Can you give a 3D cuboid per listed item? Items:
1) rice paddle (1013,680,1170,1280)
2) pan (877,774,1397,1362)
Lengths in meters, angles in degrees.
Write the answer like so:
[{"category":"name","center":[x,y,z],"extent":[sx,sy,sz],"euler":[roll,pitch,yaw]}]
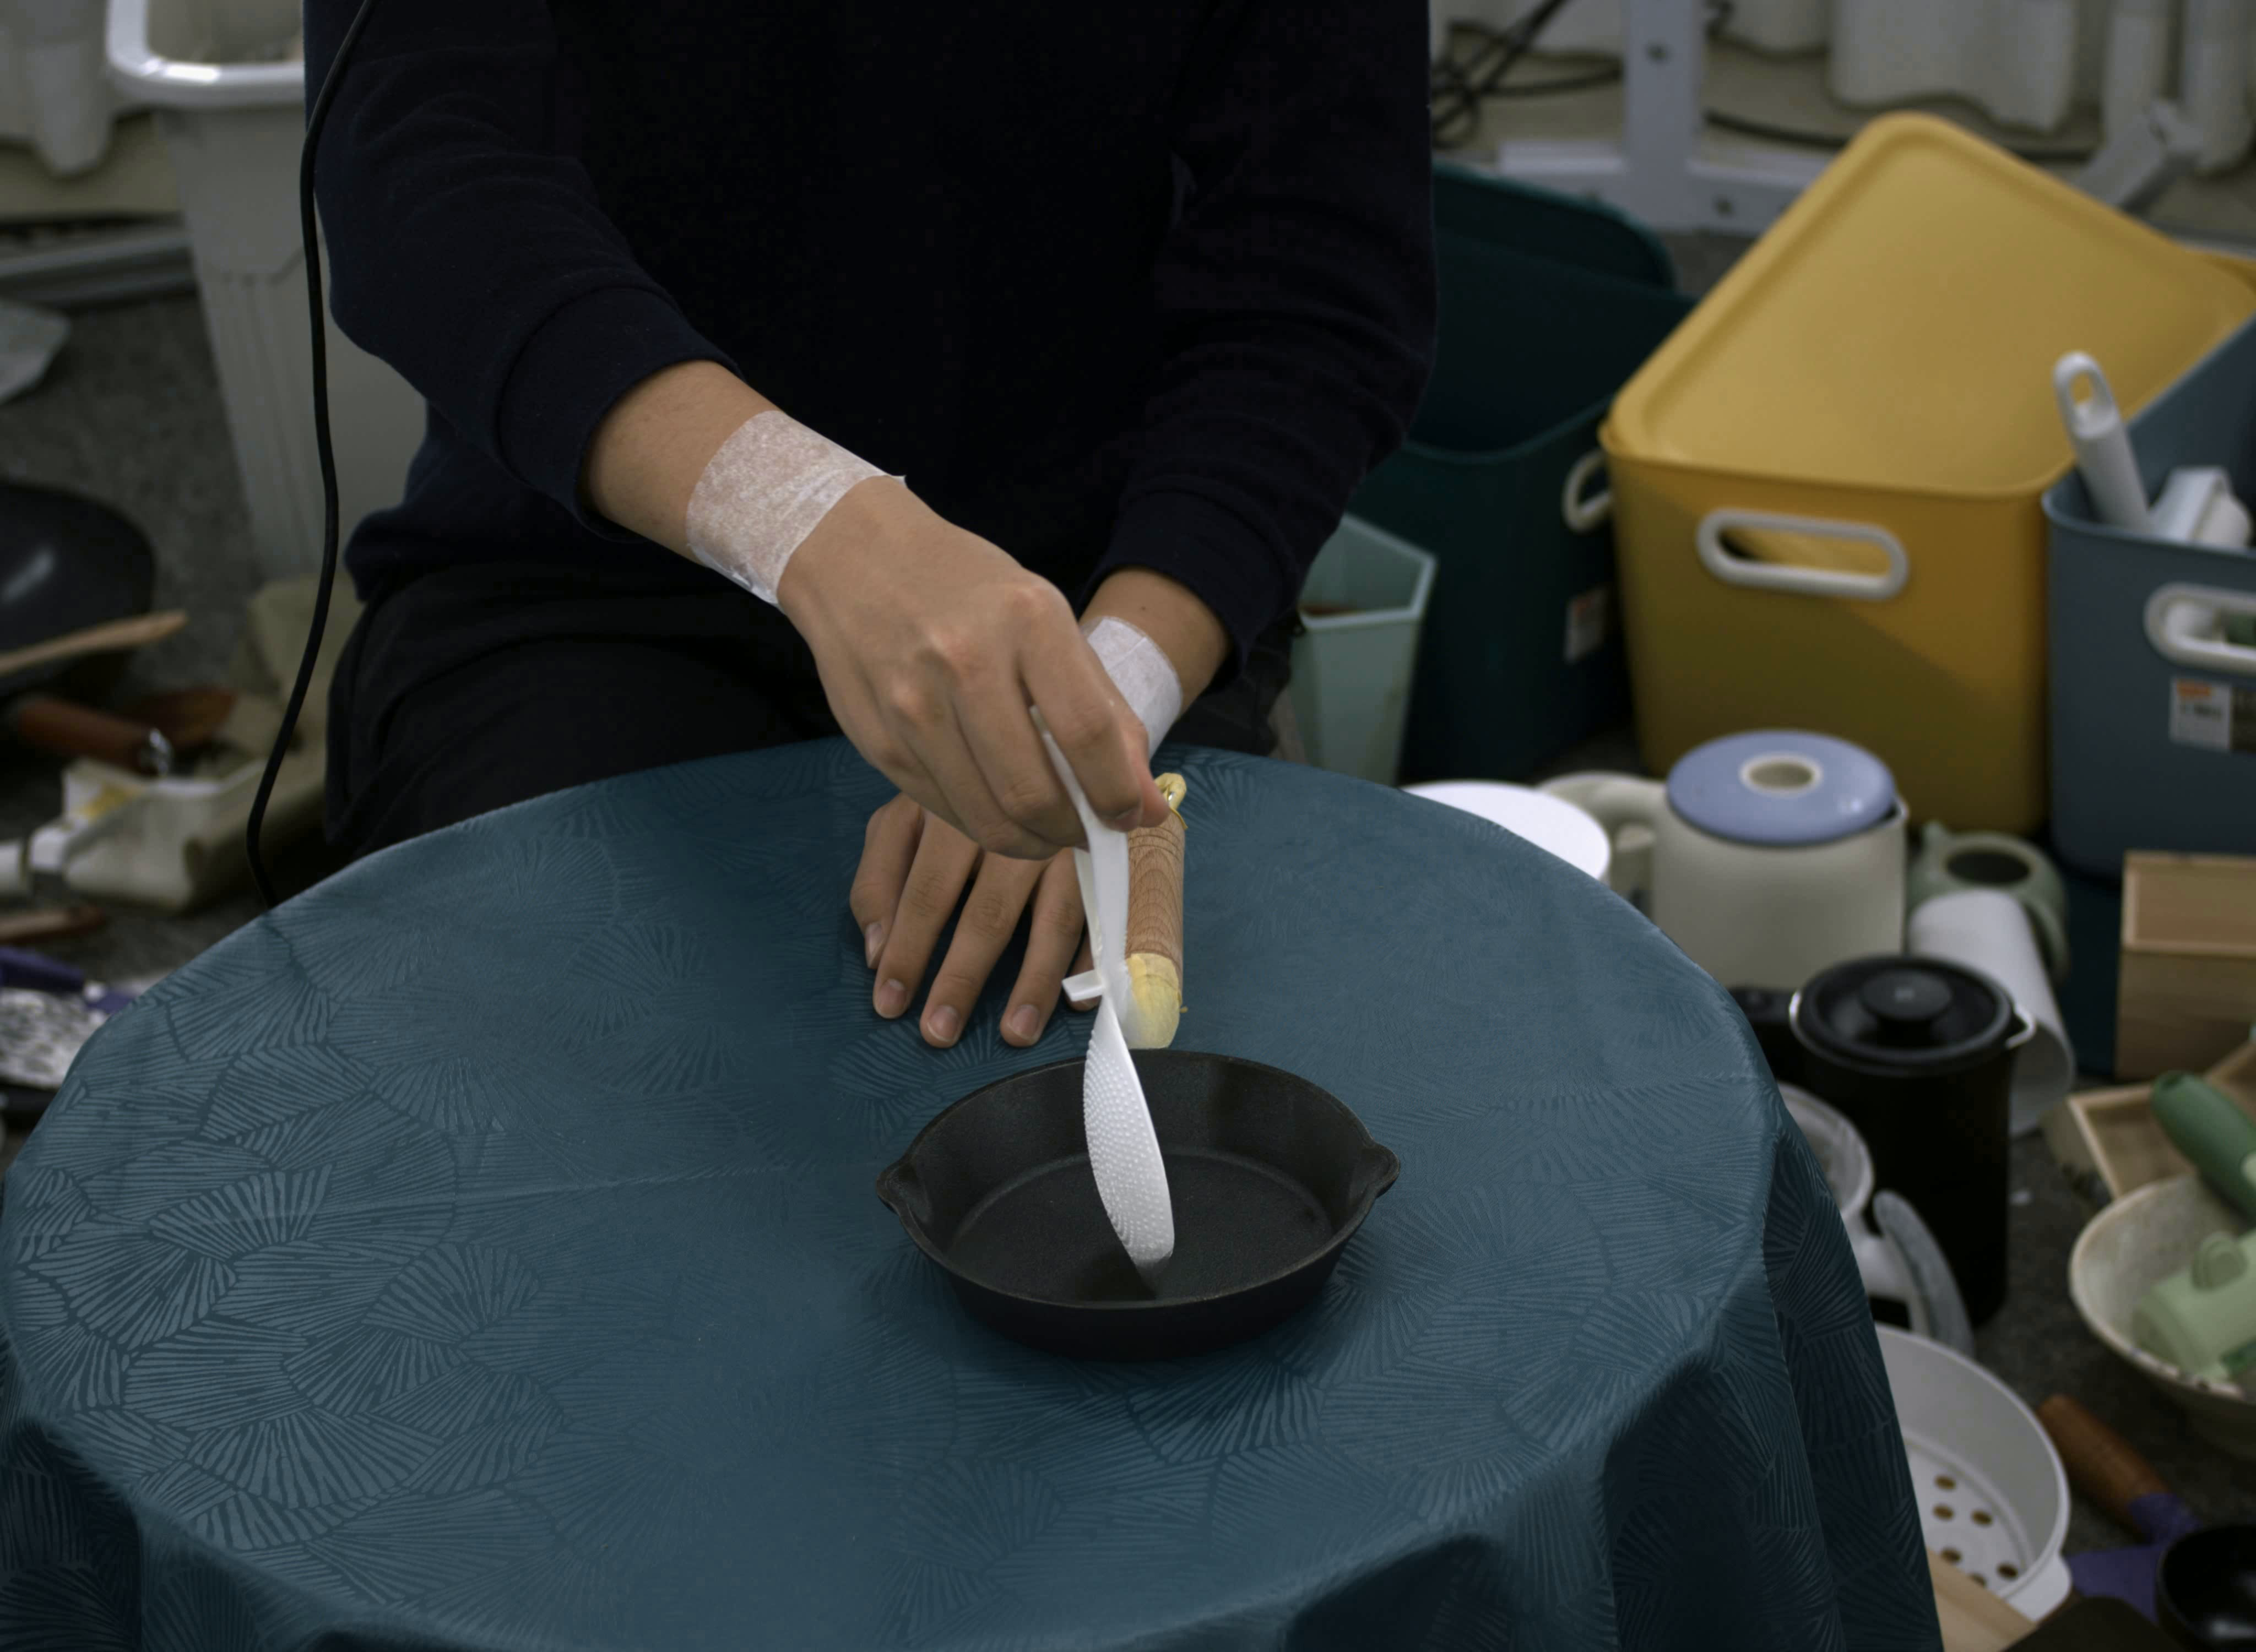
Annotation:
[{"category":"rice paddle","center":[-0.005,0.052,1.769],"extent":[0.029,0.203,0.069],"euler":[-14,25,-10]},{"category":"pan","center":[0.007,0.078,1.890],"extent":[0.168,0.049,0.329],"euler":[-1,29,4]}]
